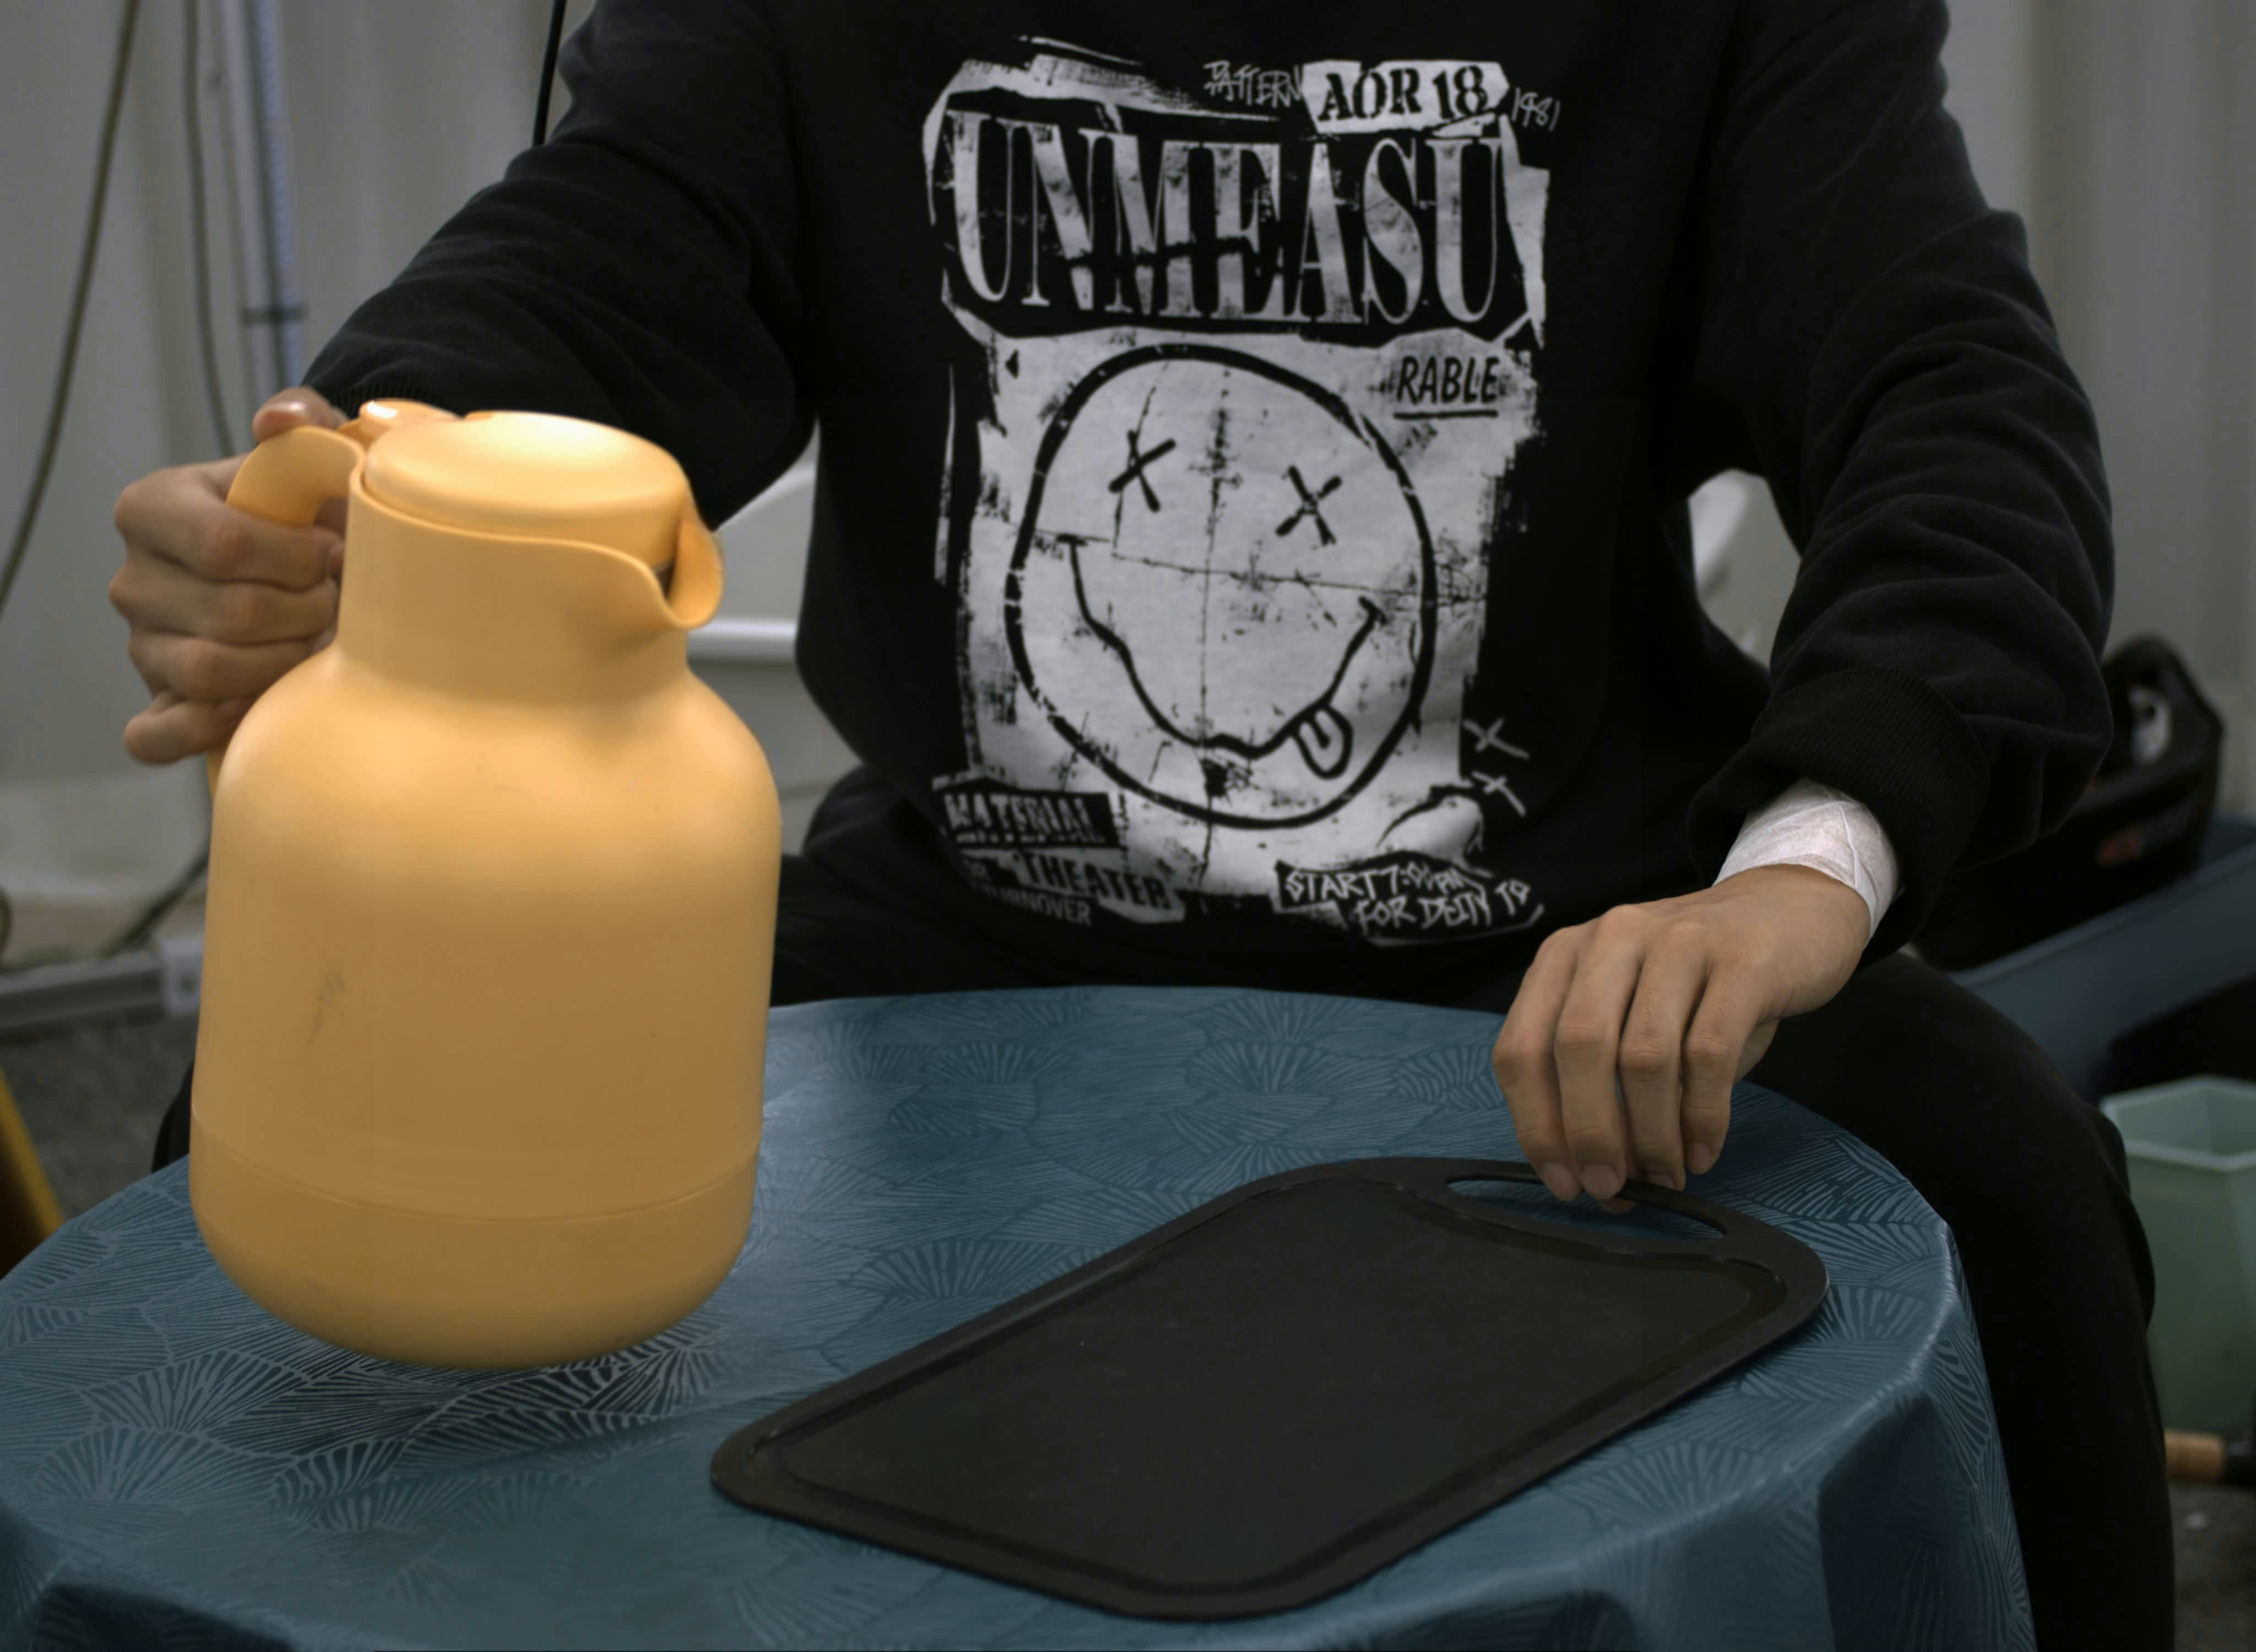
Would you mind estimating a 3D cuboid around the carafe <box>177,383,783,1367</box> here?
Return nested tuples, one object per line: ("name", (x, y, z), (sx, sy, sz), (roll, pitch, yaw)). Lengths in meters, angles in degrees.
("carafe", (-0.191, 0.005, 1.562), (0.163, 0.259, 0.204), (-8, 25, -43))

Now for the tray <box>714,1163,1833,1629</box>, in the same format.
("tray", (0.050, 0.151, 1.546), (0.212, 0.010, 0.325), (10, 21, 39))
